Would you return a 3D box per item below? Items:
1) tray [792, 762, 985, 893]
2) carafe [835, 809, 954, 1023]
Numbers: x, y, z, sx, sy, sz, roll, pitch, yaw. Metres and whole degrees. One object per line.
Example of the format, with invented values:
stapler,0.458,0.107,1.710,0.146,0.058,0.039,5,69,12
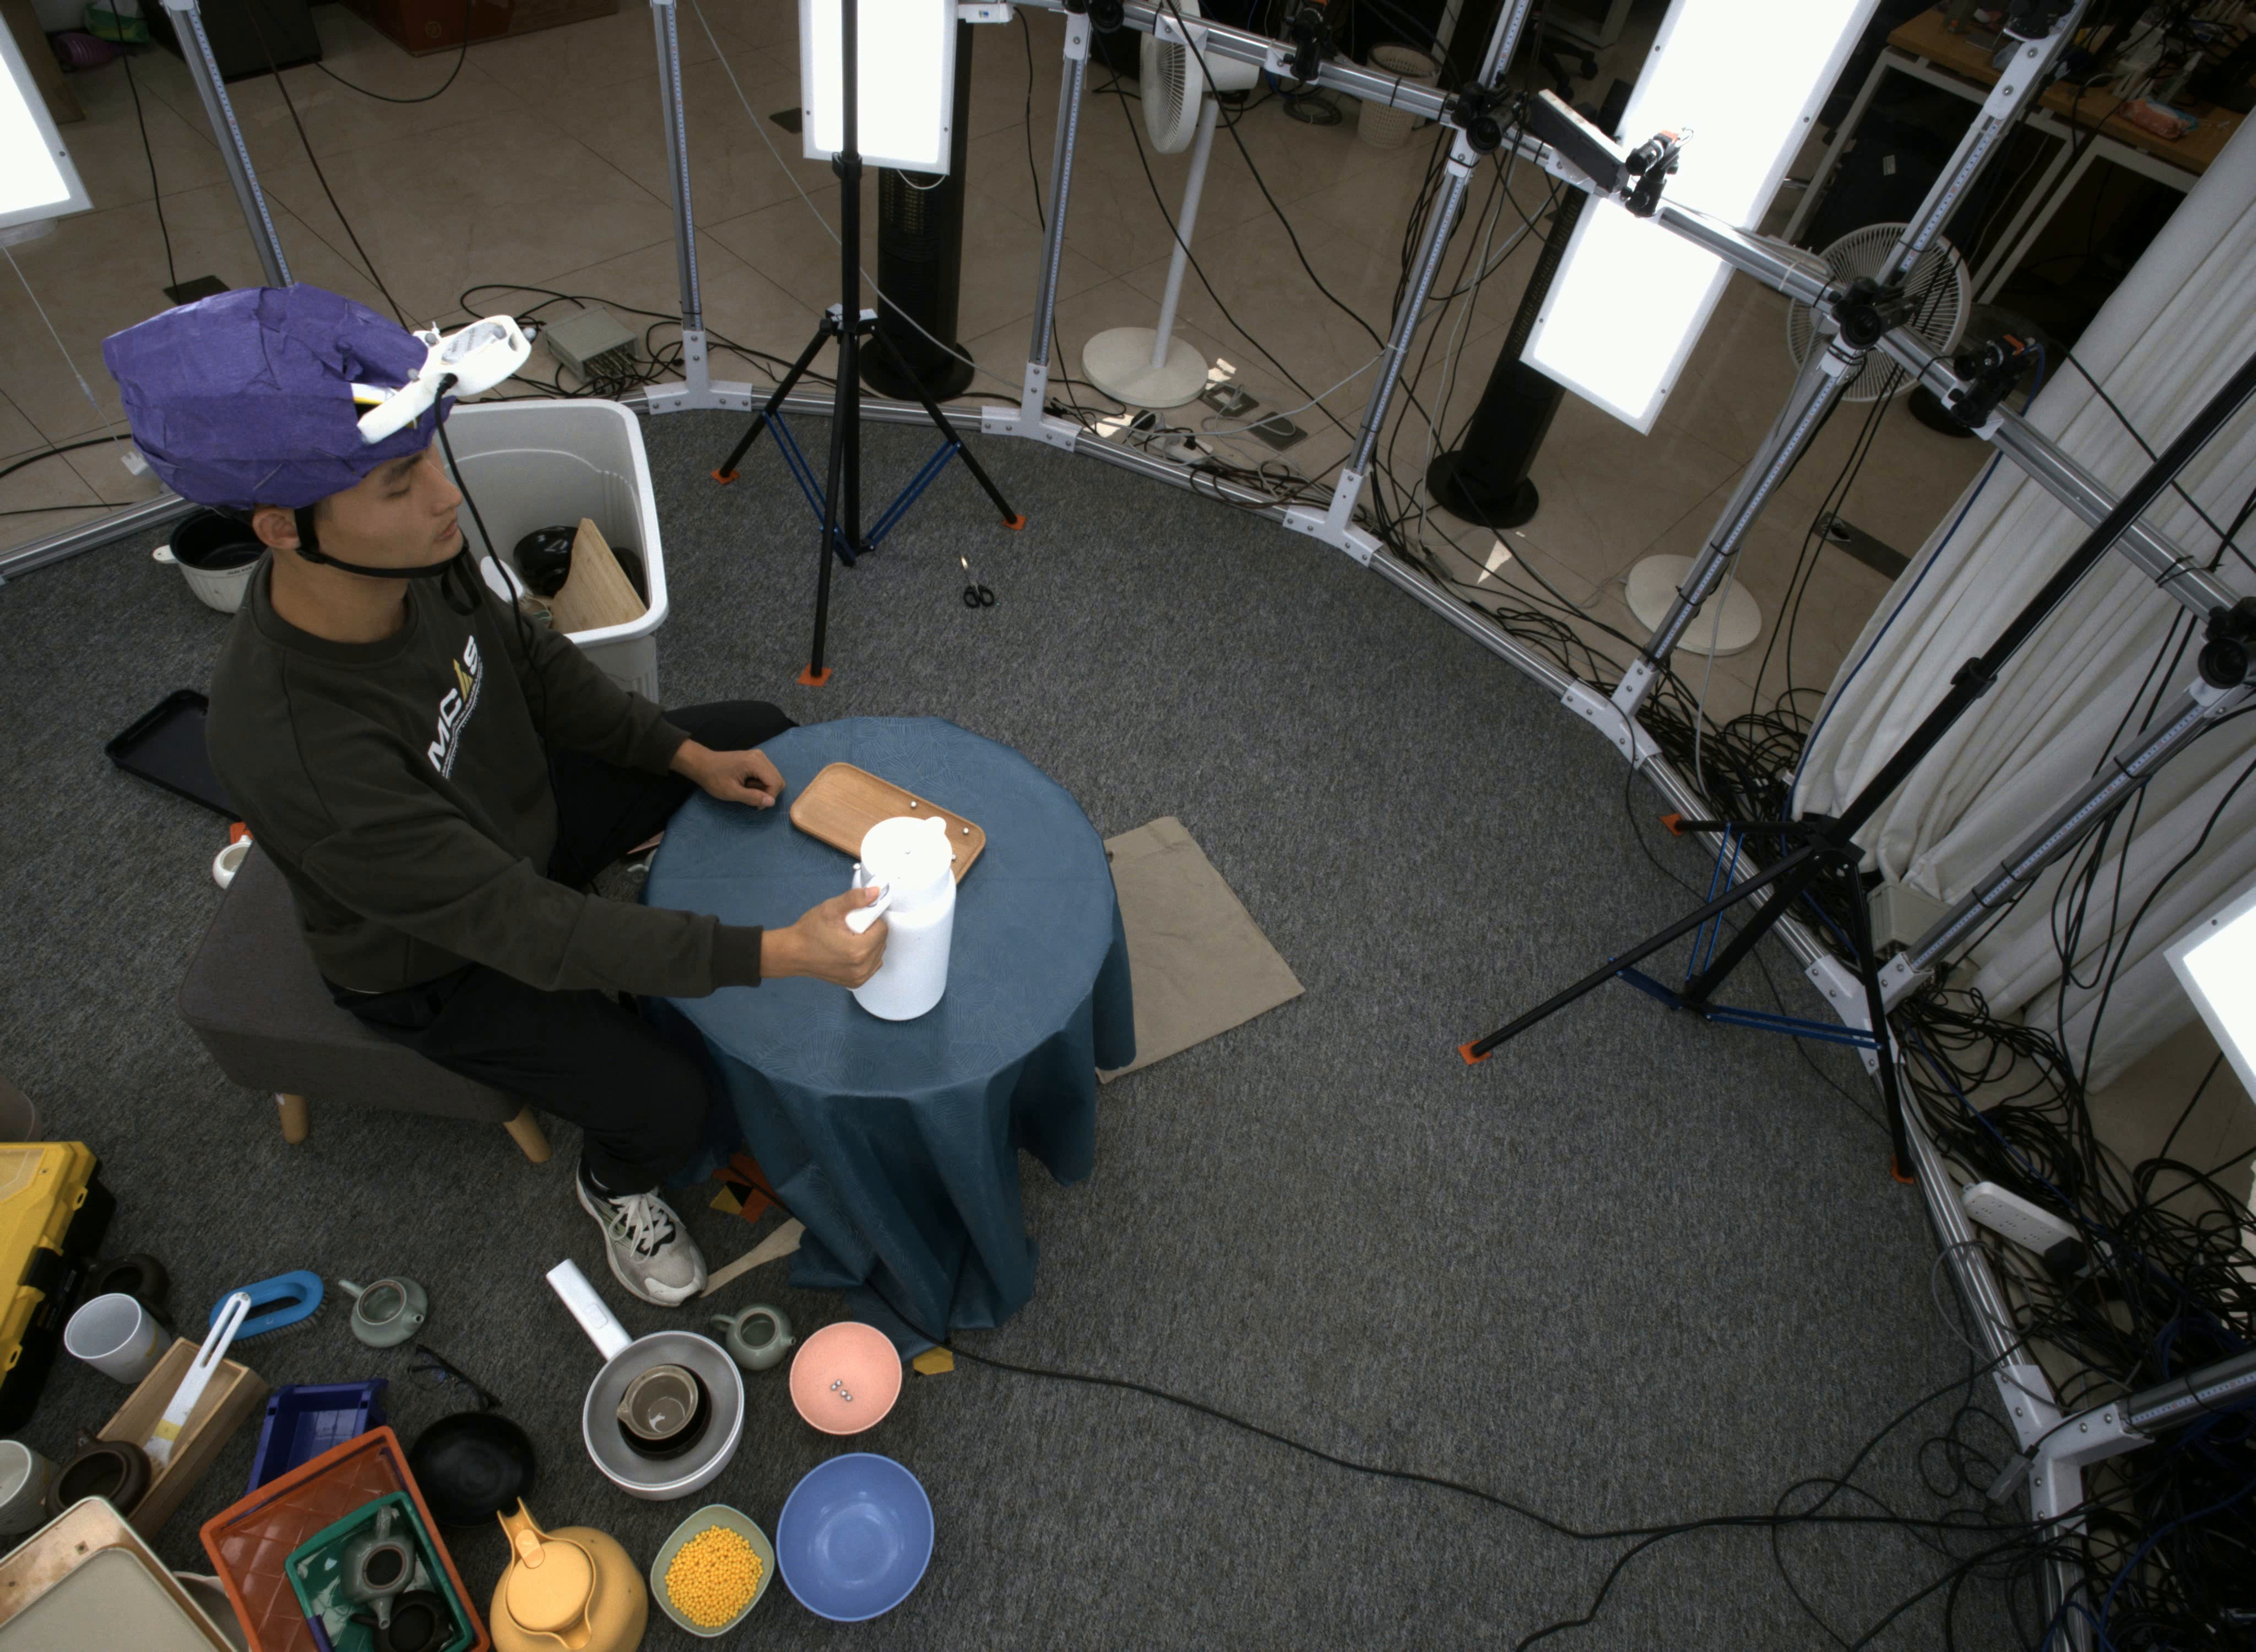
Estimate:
tray,-0.321,0.002,1.749,0.246,0.023,0.130,26,50,8
carafe,-0.272,0.120,1.505,0.122,0.274,0.172,29,50,11
